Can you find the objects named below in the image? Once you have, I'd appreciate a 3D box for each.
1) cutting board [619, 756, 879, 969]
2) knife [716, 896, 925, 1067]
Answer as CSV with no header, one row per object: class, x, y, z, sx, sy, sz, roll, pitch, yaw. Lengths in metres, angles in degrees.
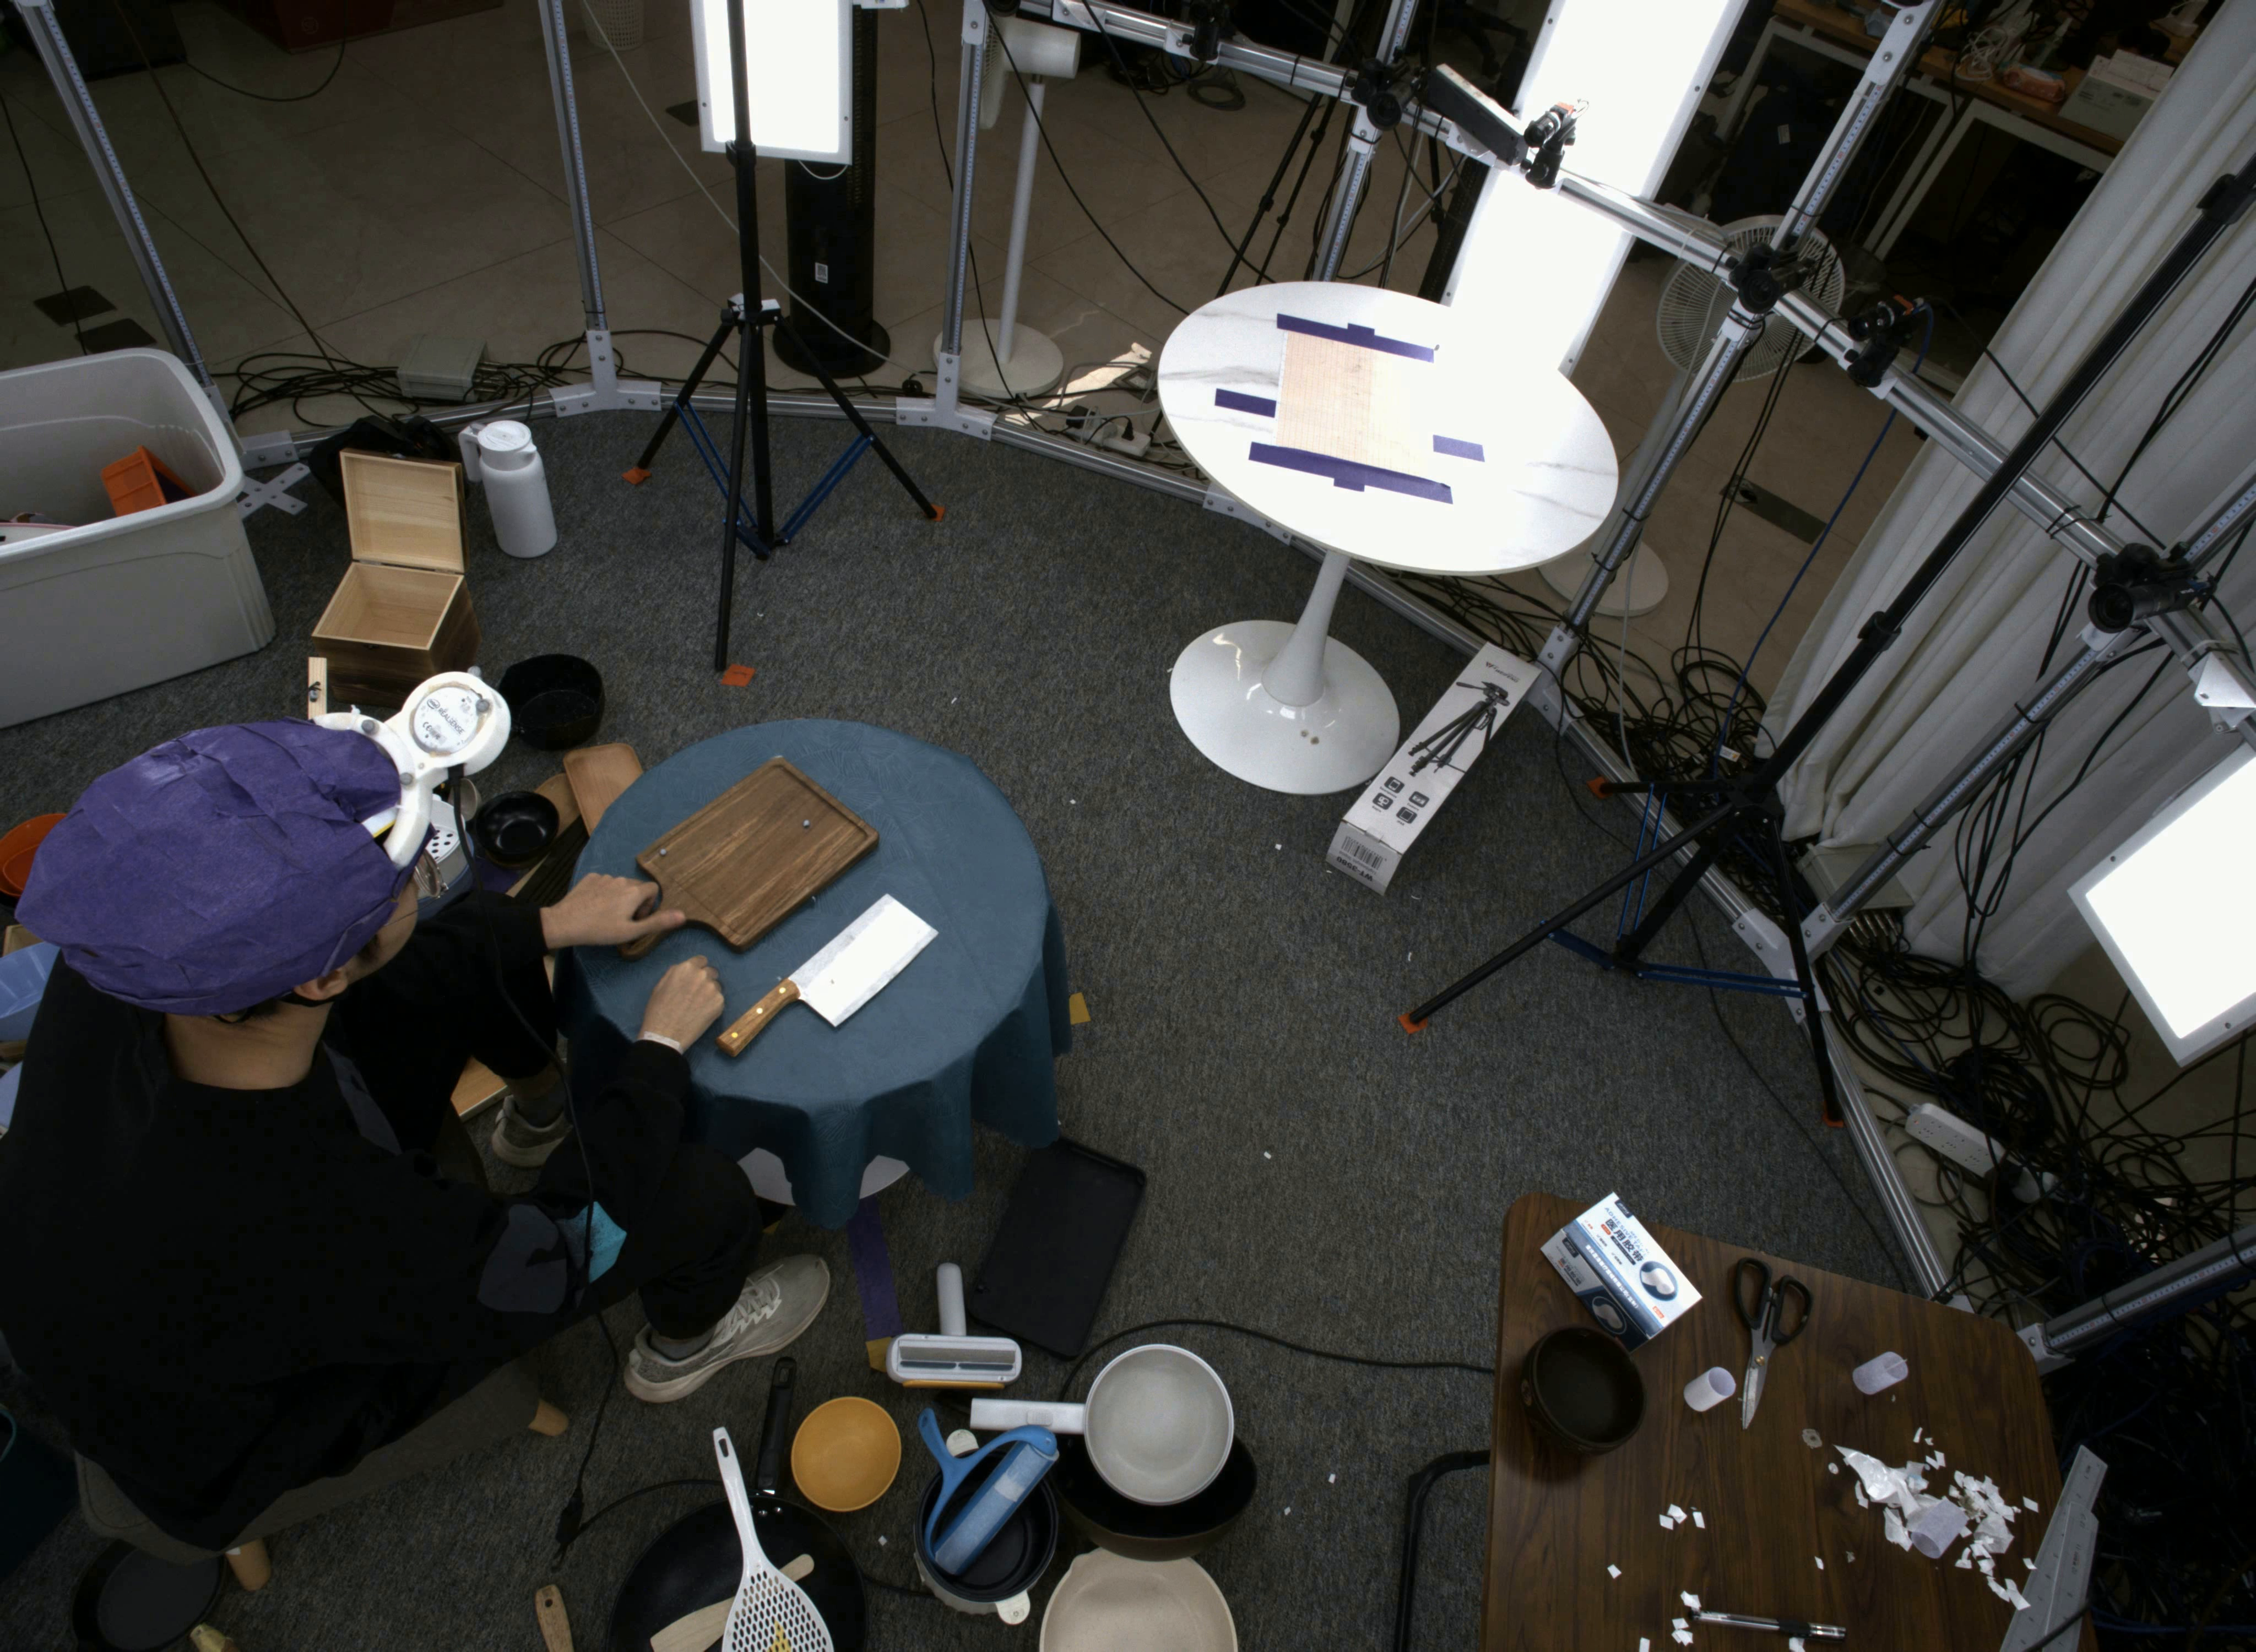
cutting board,-0.505,0.058,1.636,0.197,0.023,0.352,36,53,13
knife,-0.362,0.194,1.575,0.091,0.021,0.305,36,51,11
